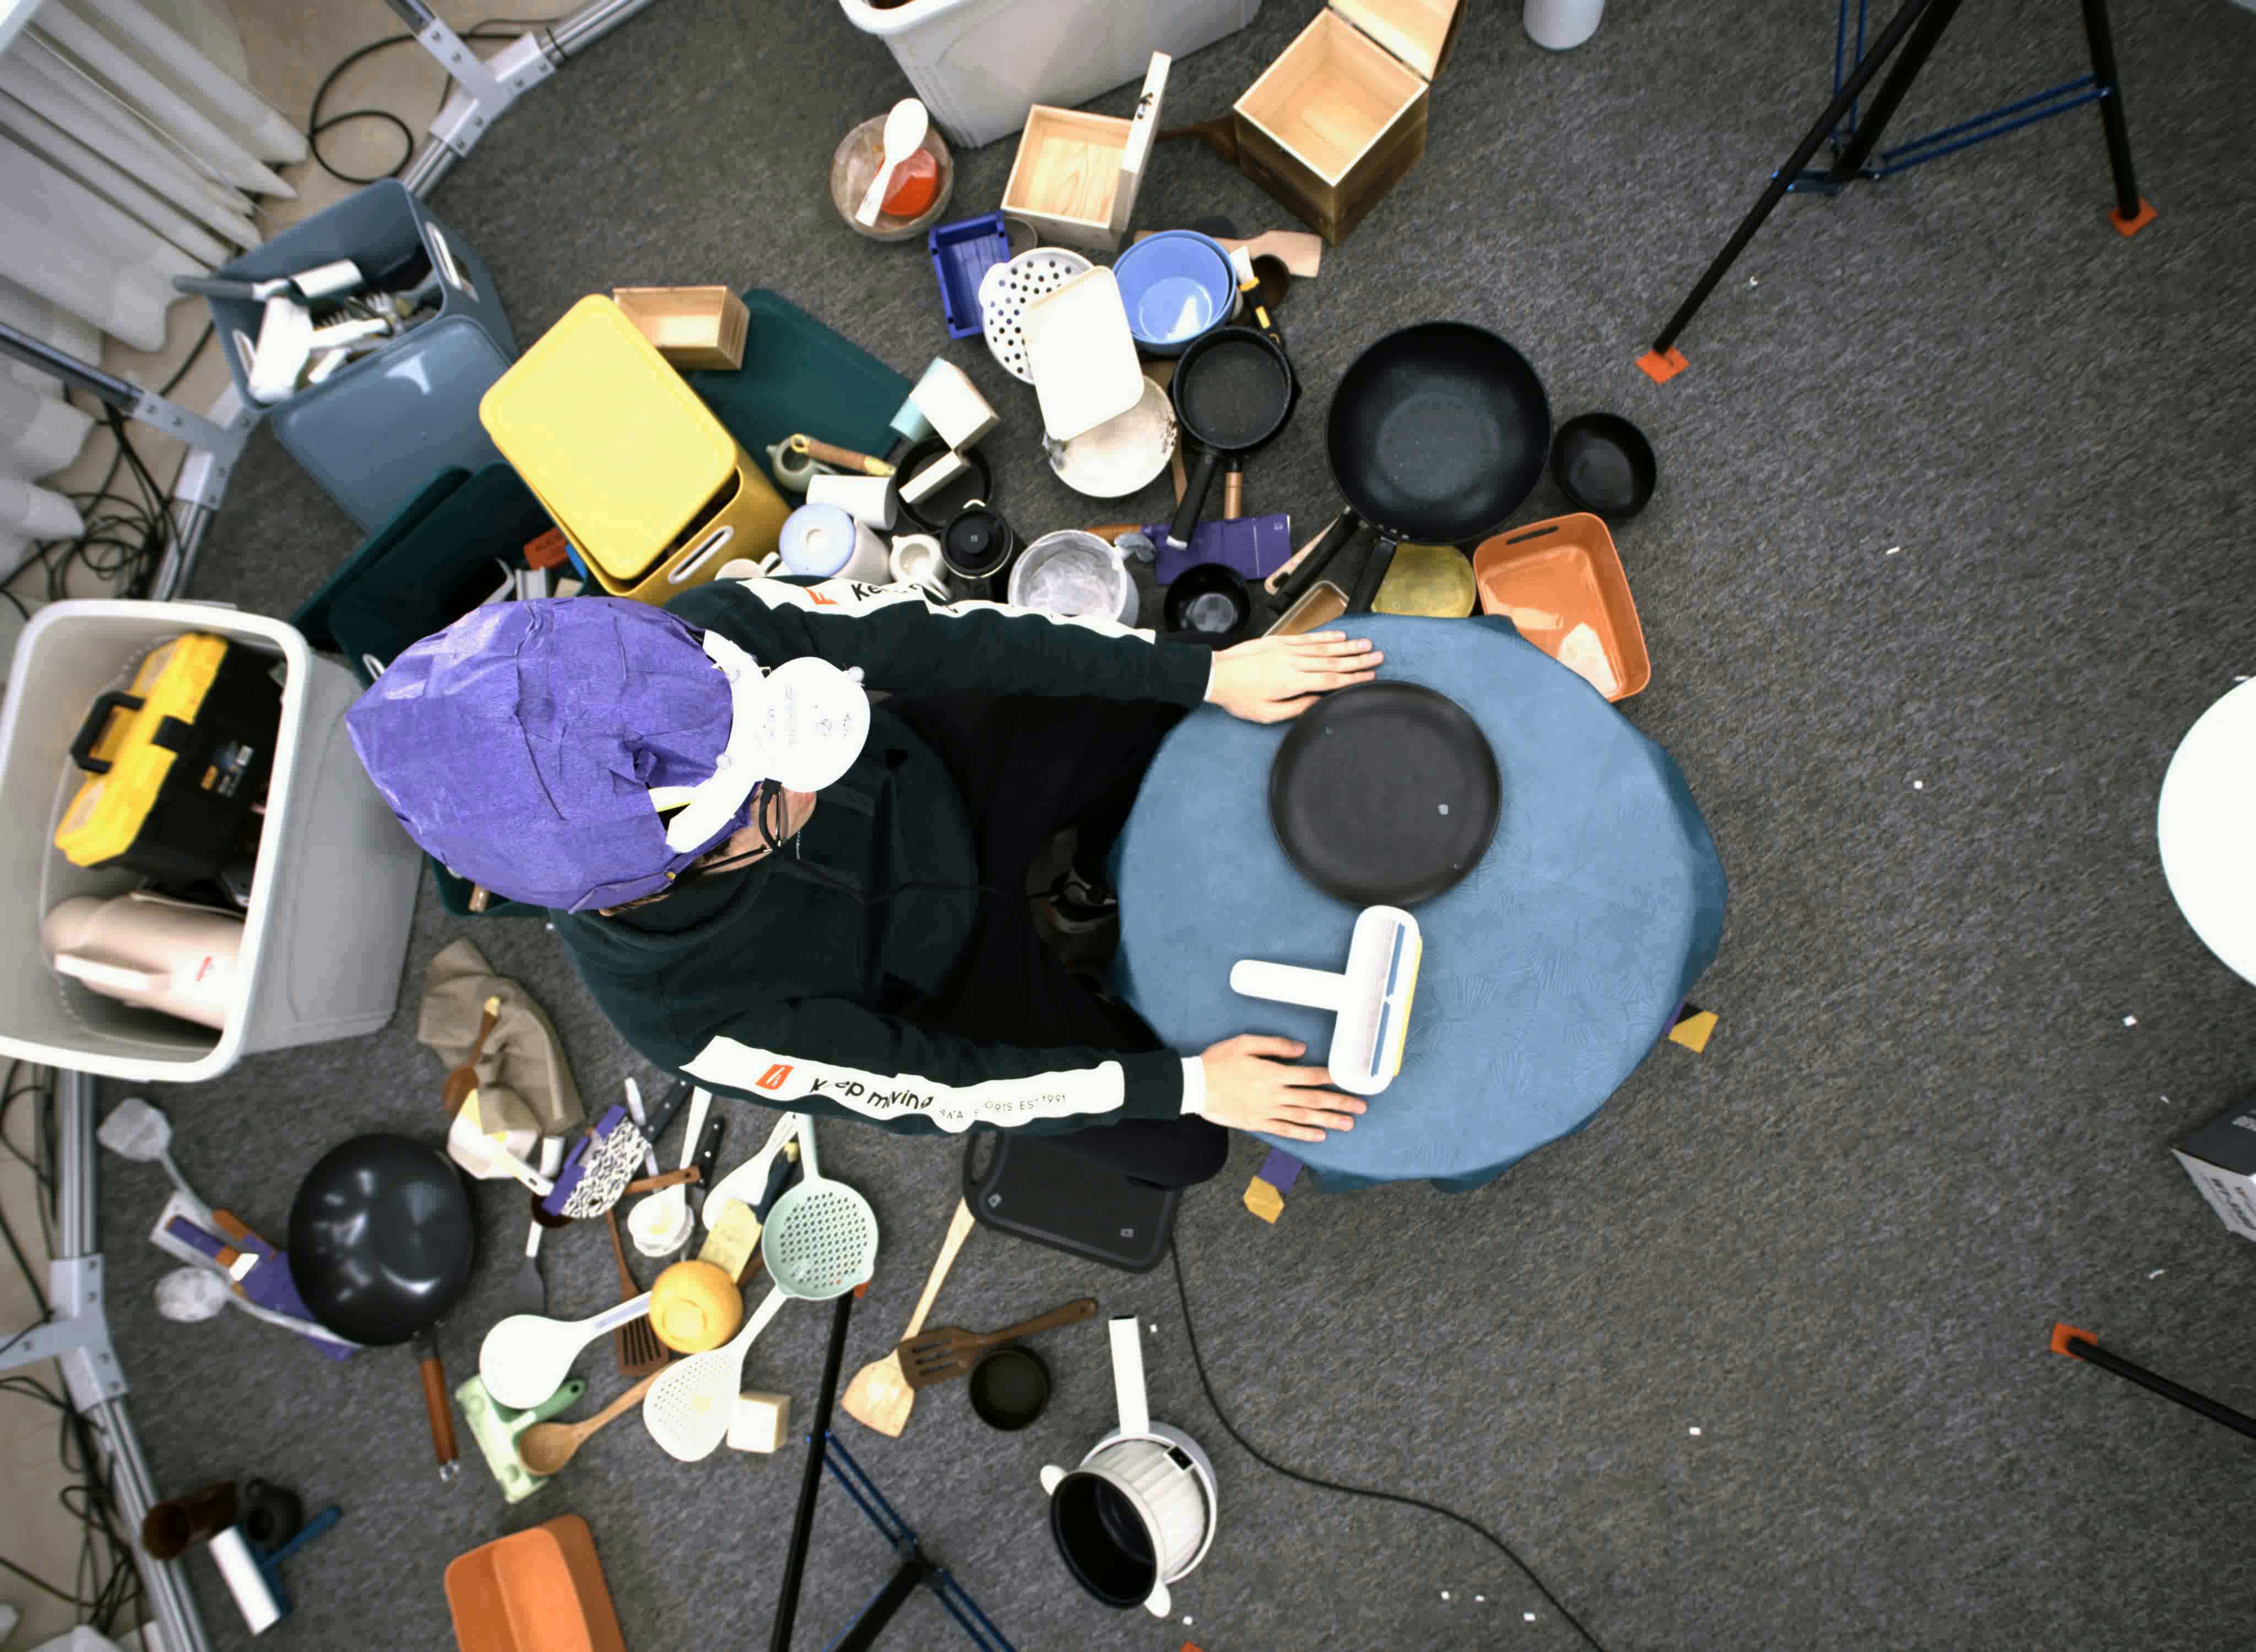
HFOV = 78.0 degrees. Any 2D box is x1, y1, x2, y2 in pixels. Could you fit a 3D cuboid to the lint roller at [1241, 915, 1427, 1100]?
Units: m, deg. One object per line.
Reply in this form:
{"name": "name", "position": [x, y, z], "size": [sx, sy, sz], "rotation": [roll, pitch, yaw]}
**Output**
{"name": "lint roller", "position": [0.202, 0.173, 1.447], "size": [0.192, 0.074, 0.191], "rotation": [14, 83, 25]}

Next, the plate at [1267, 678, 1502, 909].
{"name": "plate", "position": [0.268, -0.035, 1.450], "size": [0.245, 0.023, 0.243], "rotation": [-1, 87, 10]}
